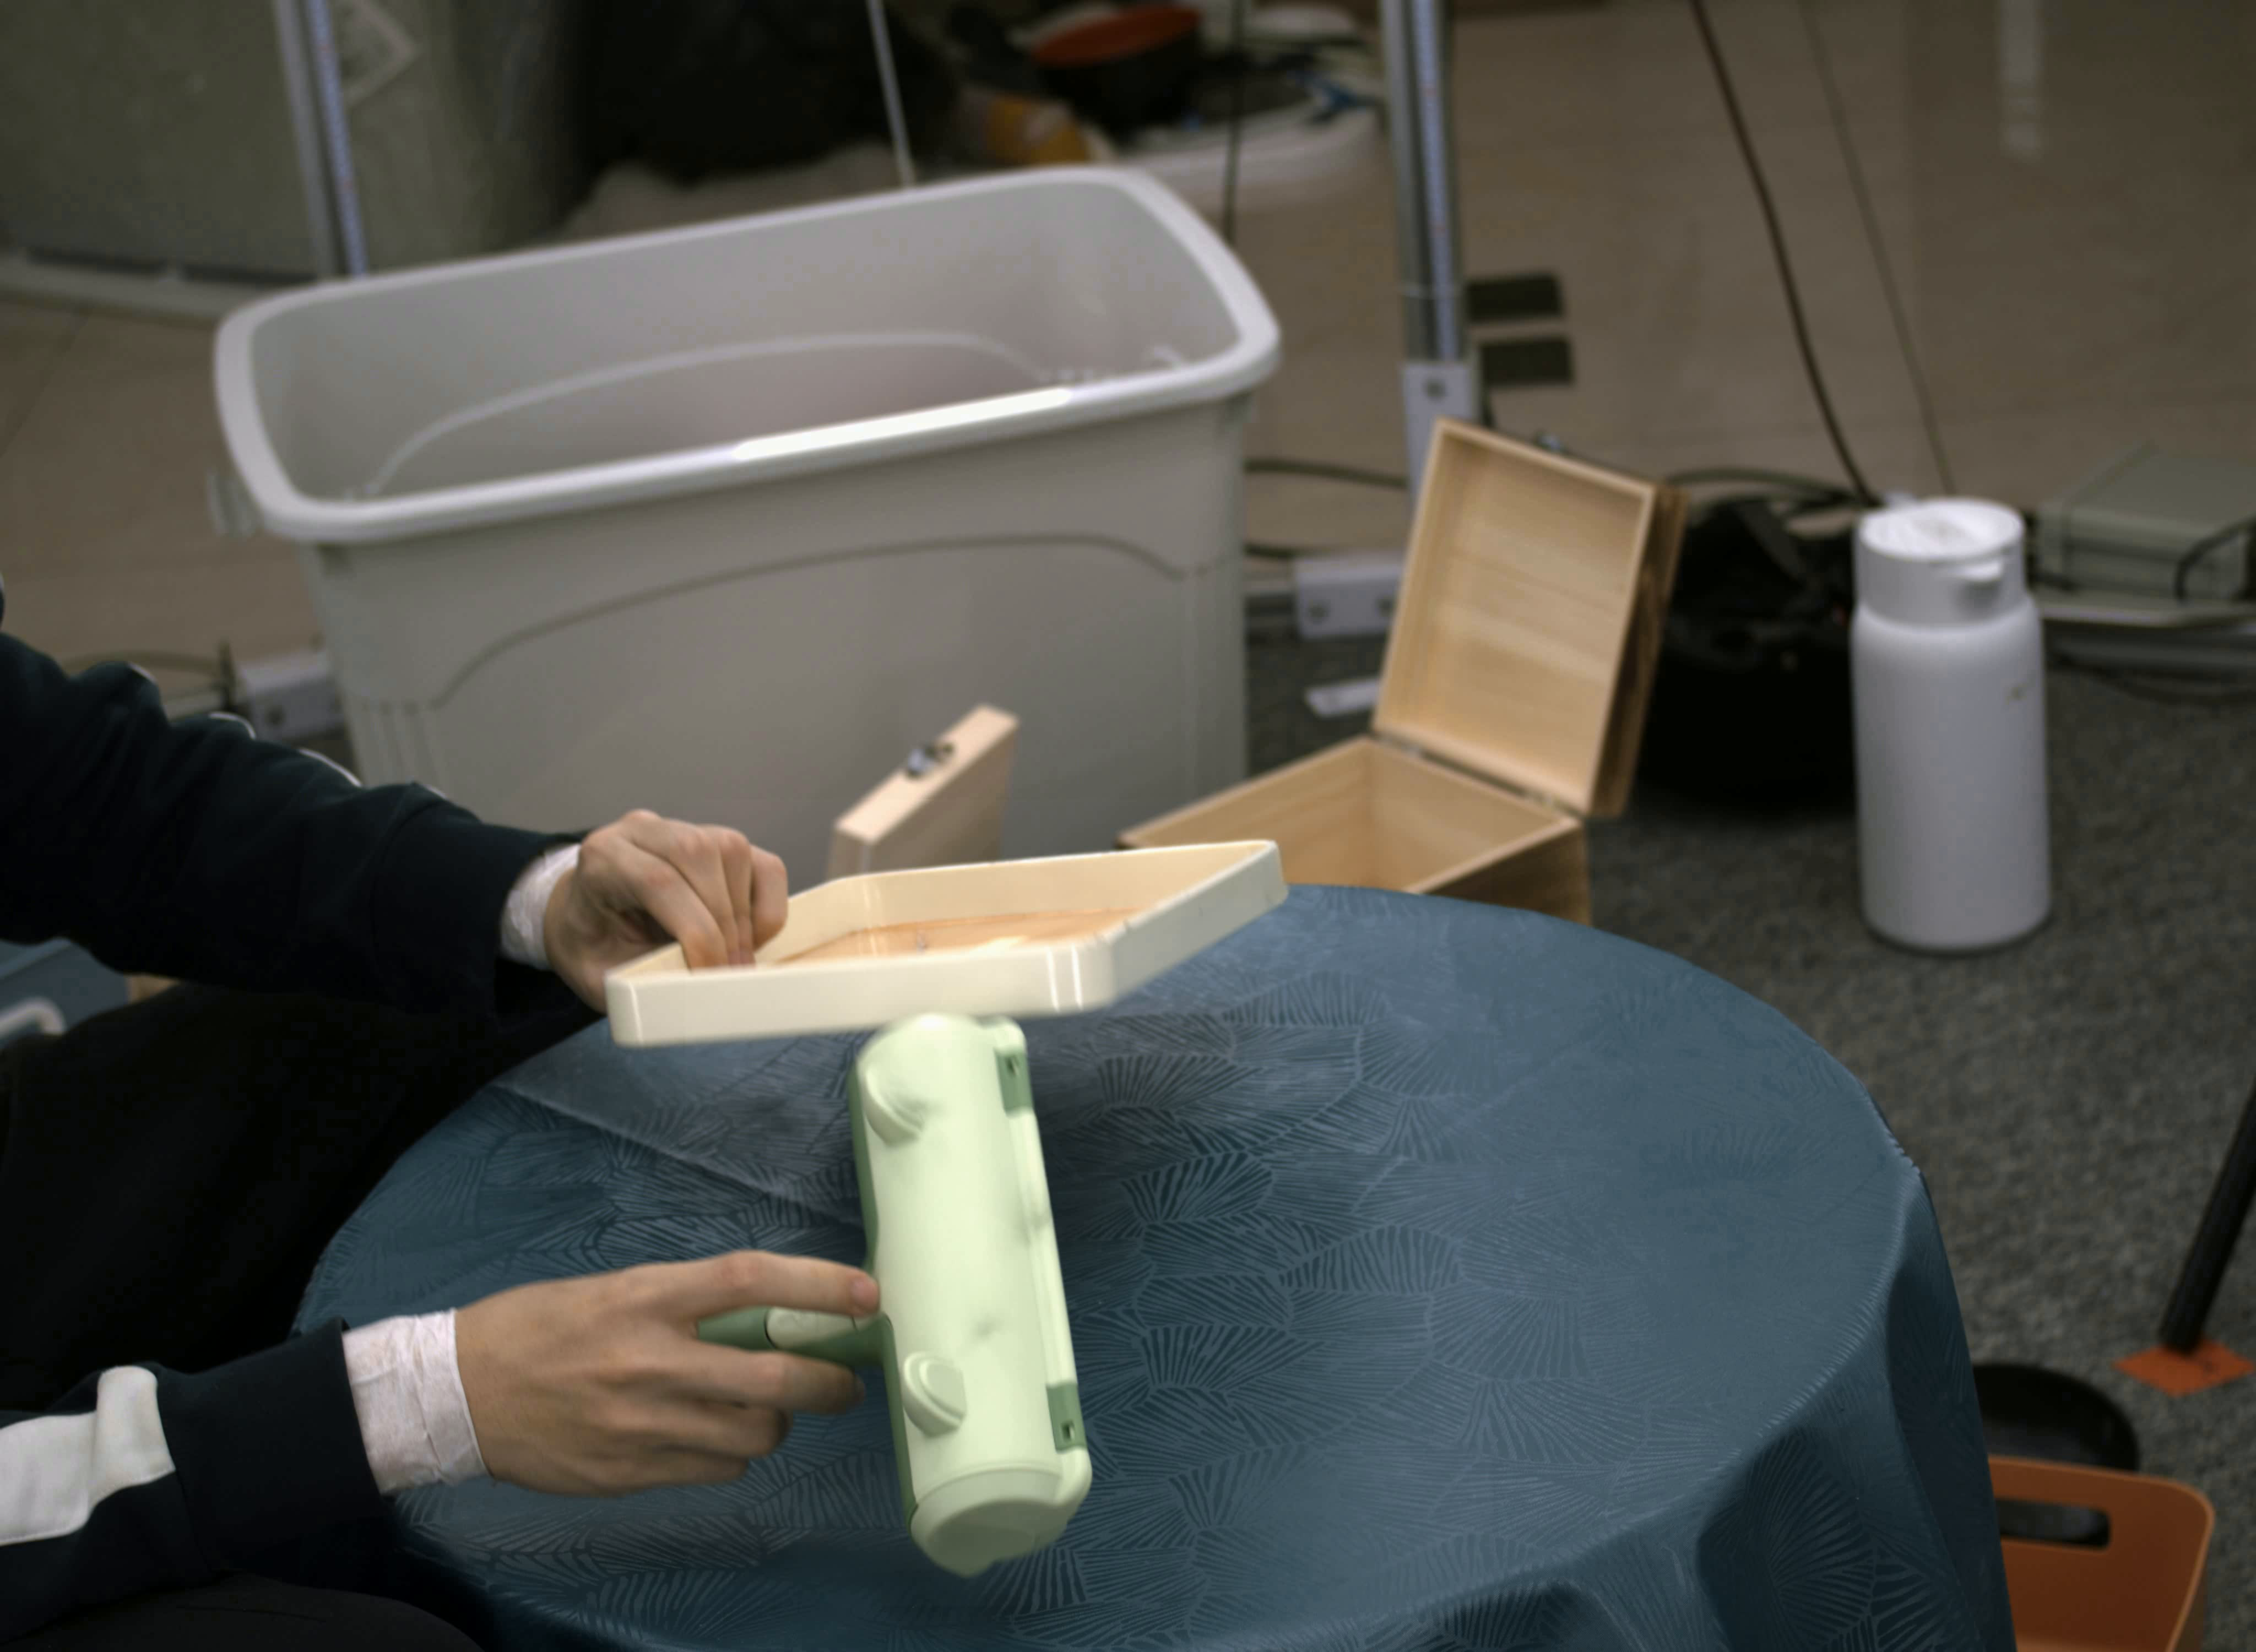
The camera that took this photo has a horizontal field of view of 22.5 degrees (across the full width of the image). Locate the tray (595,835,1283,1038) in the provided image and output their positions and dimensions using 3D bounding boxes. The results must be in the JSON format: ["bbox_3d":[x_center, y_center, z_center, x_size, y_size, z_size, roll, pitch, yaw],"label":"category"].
[{"bbox_3d":[-0.065,0.040,2.137,0.191,0.027,0.299,-6,4,16],"label":"tray"}]

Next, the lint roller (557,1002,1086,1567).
[{"bbox_3d":[-0.114,0.161,1.908,0.183,0.083,0.195,-15,56,6],"label":"lint roller"}]
